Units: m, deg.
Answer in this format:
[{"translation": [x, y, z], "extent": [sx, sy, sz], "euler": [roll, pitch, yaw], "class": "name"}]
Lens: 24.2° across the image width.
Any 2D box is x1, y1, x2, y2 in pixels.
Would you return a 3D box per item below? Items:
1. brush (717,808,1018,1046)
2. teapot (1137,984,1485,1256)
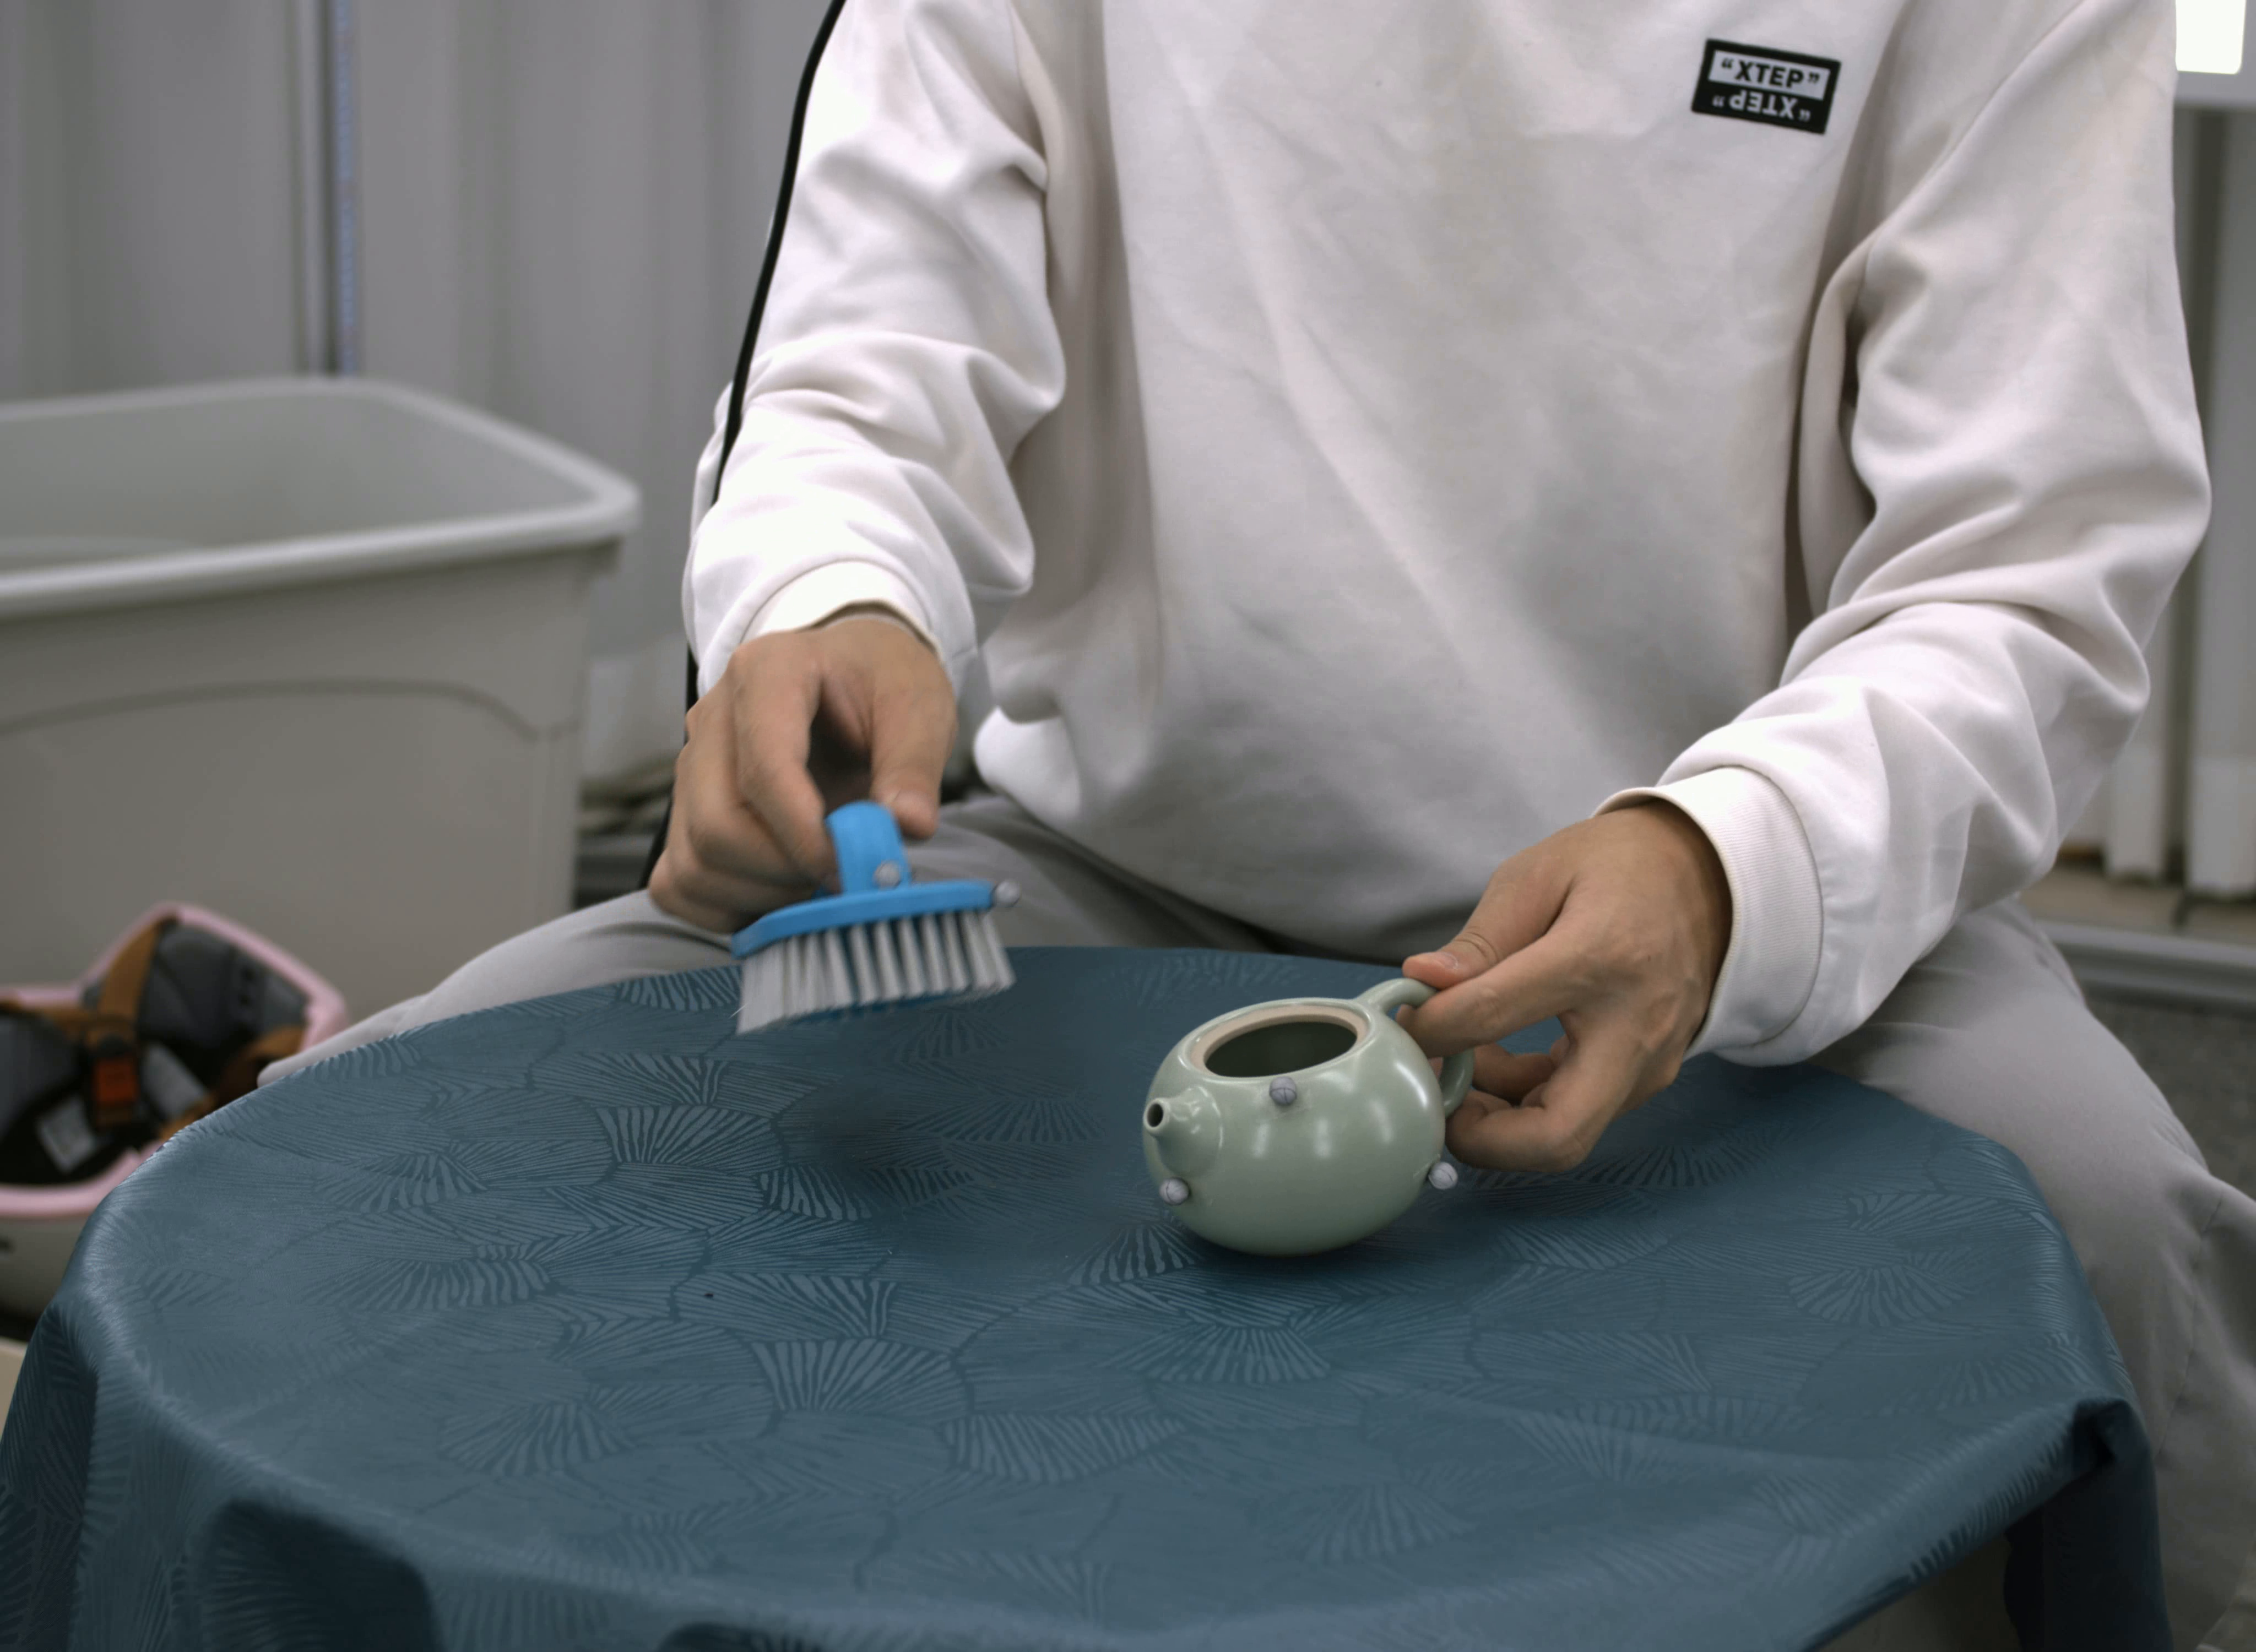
[{"translation": [-0.086, 0.028, 1.642], "extent": [0.084, 0.064, 0.141], "euler": [-13, -4, -11], "class": "brush"}, {"translation": [0.058, 0.088, 1.587], "extent": [0.129, 0.061, 0.090], "euler": [-21, 20, -33], "class": "teapot"}]
